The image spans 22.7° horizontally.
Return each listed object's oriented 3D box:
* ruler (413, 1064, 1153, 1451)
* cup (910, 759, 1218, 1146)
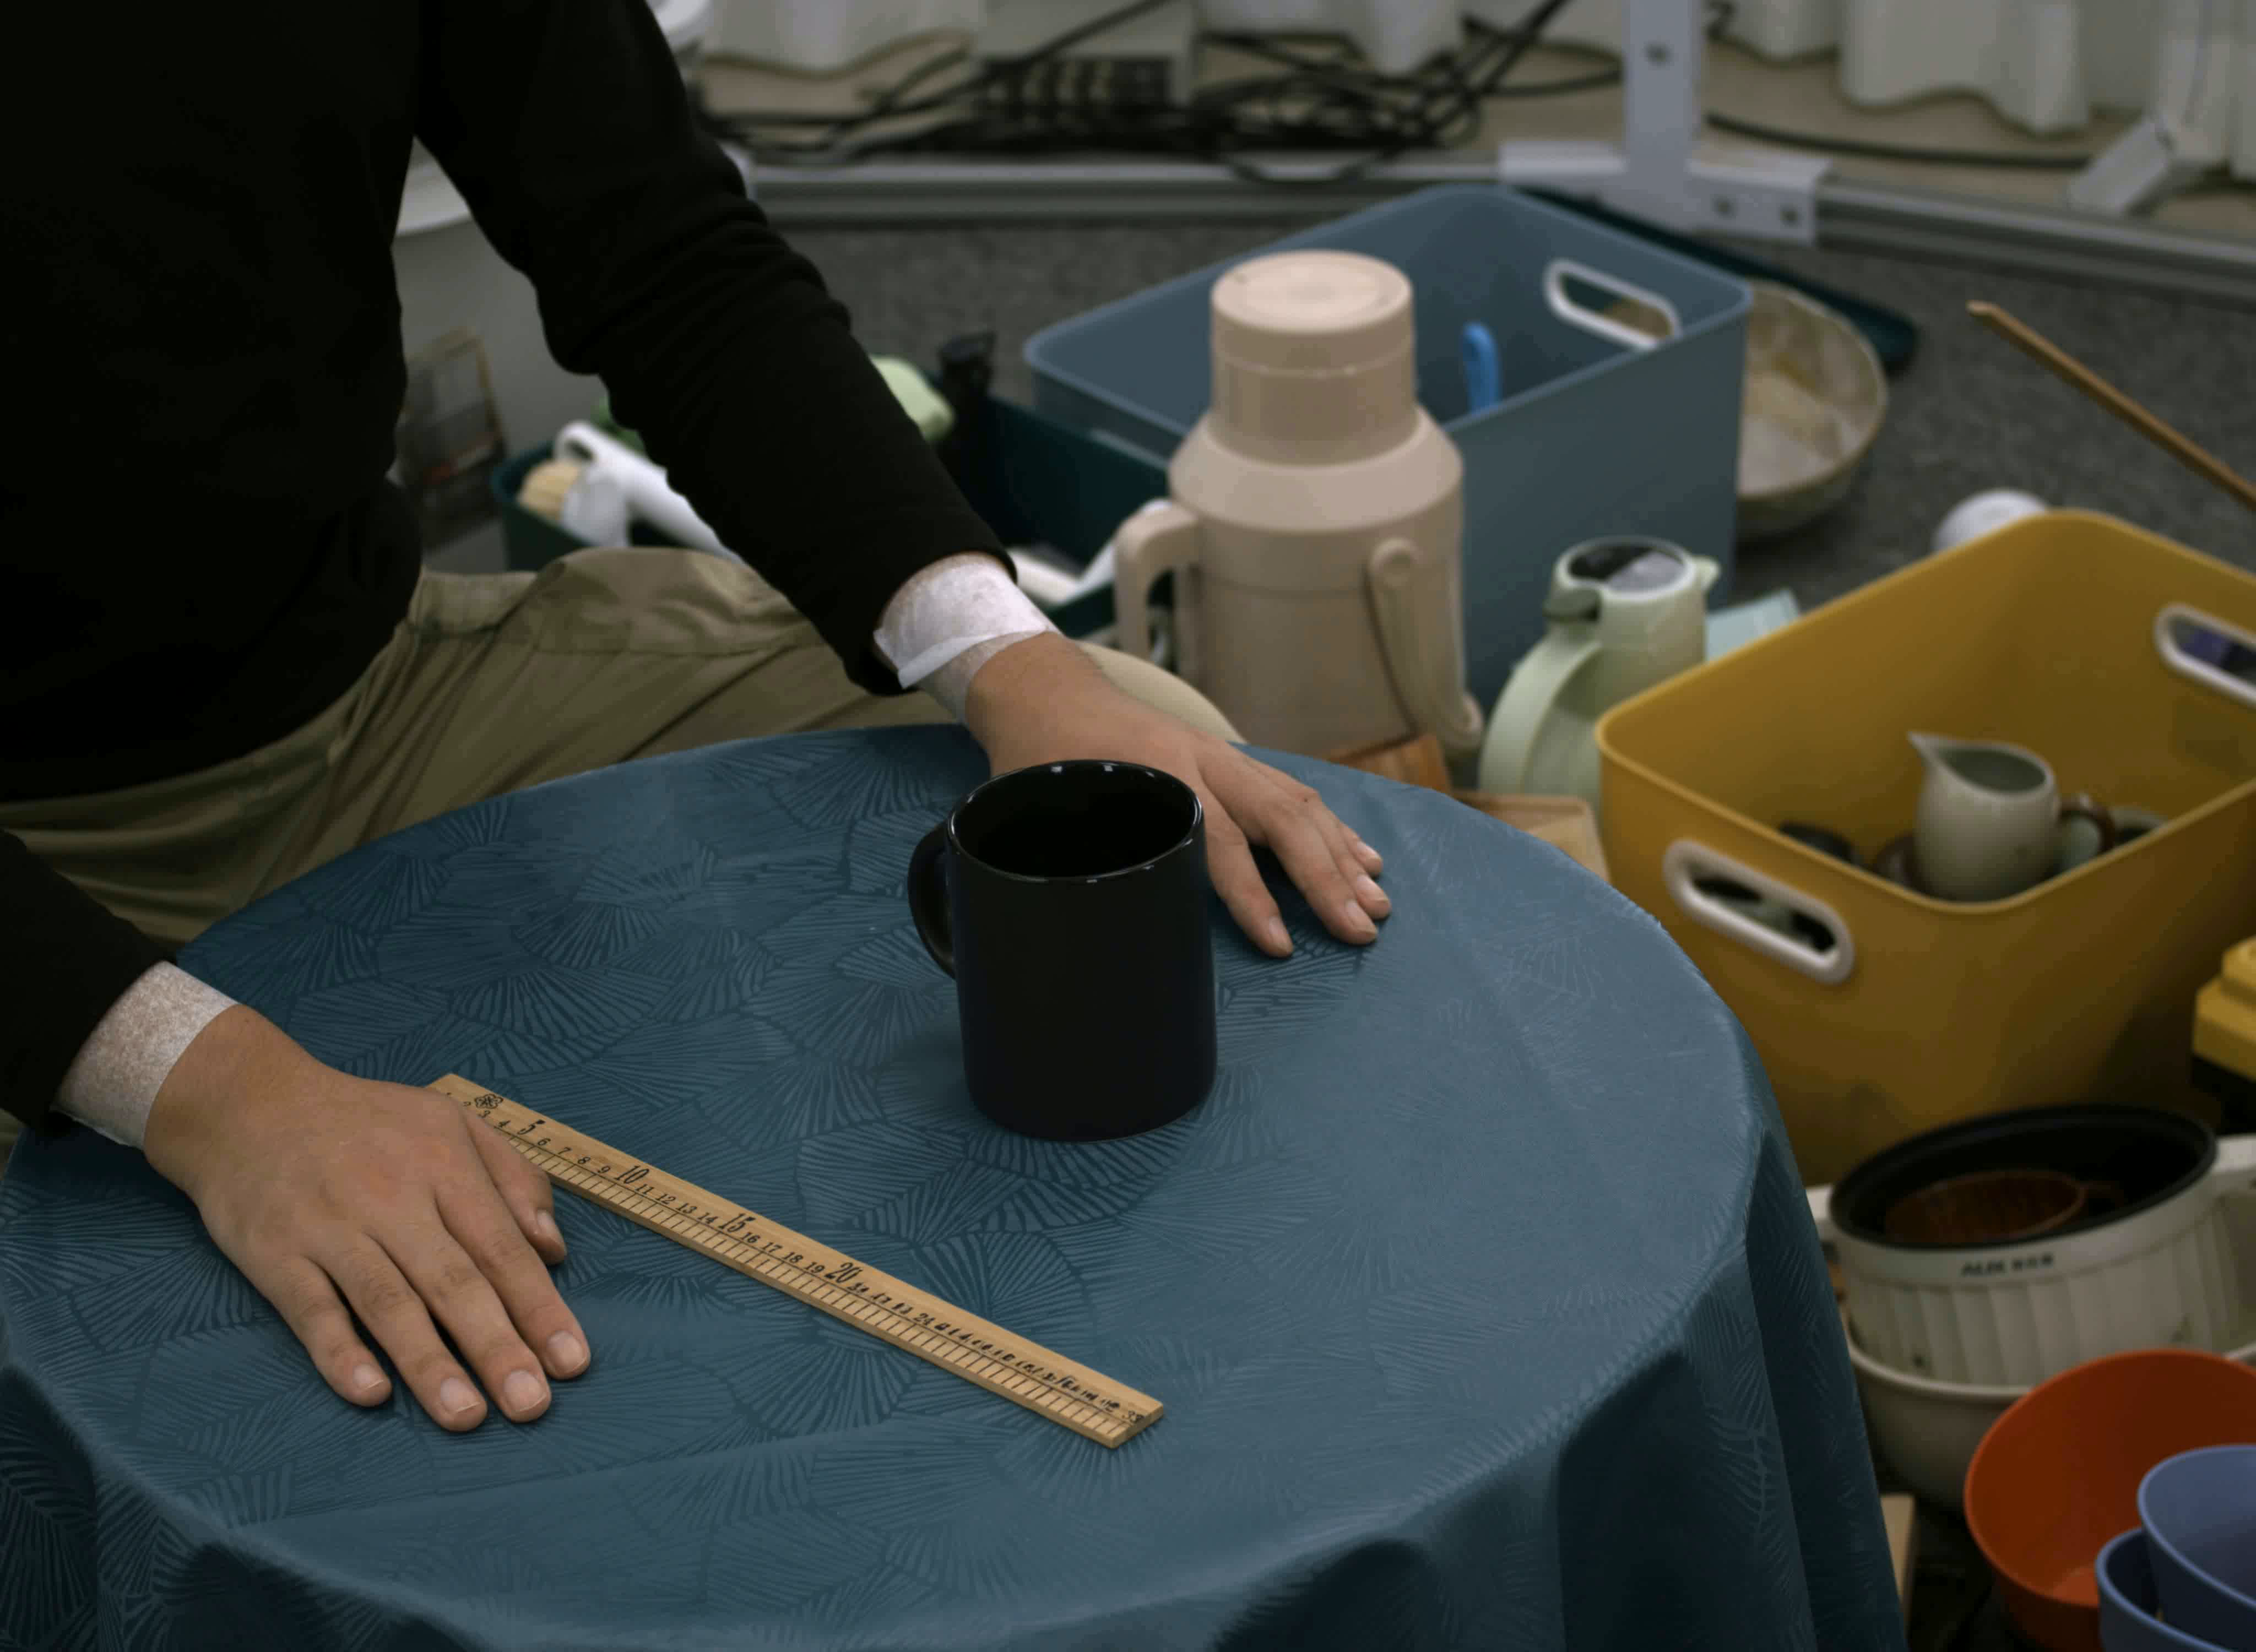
[{"bbox_3d":[-0.120,0.135,1.835,0.331,0.022,0.028,22,32,39],"label":"ruler"},{"bbox_3d":[-0.028,0.038,1.917,0.123,0.104,0.090,21,37,40],"label":"cup"}]
